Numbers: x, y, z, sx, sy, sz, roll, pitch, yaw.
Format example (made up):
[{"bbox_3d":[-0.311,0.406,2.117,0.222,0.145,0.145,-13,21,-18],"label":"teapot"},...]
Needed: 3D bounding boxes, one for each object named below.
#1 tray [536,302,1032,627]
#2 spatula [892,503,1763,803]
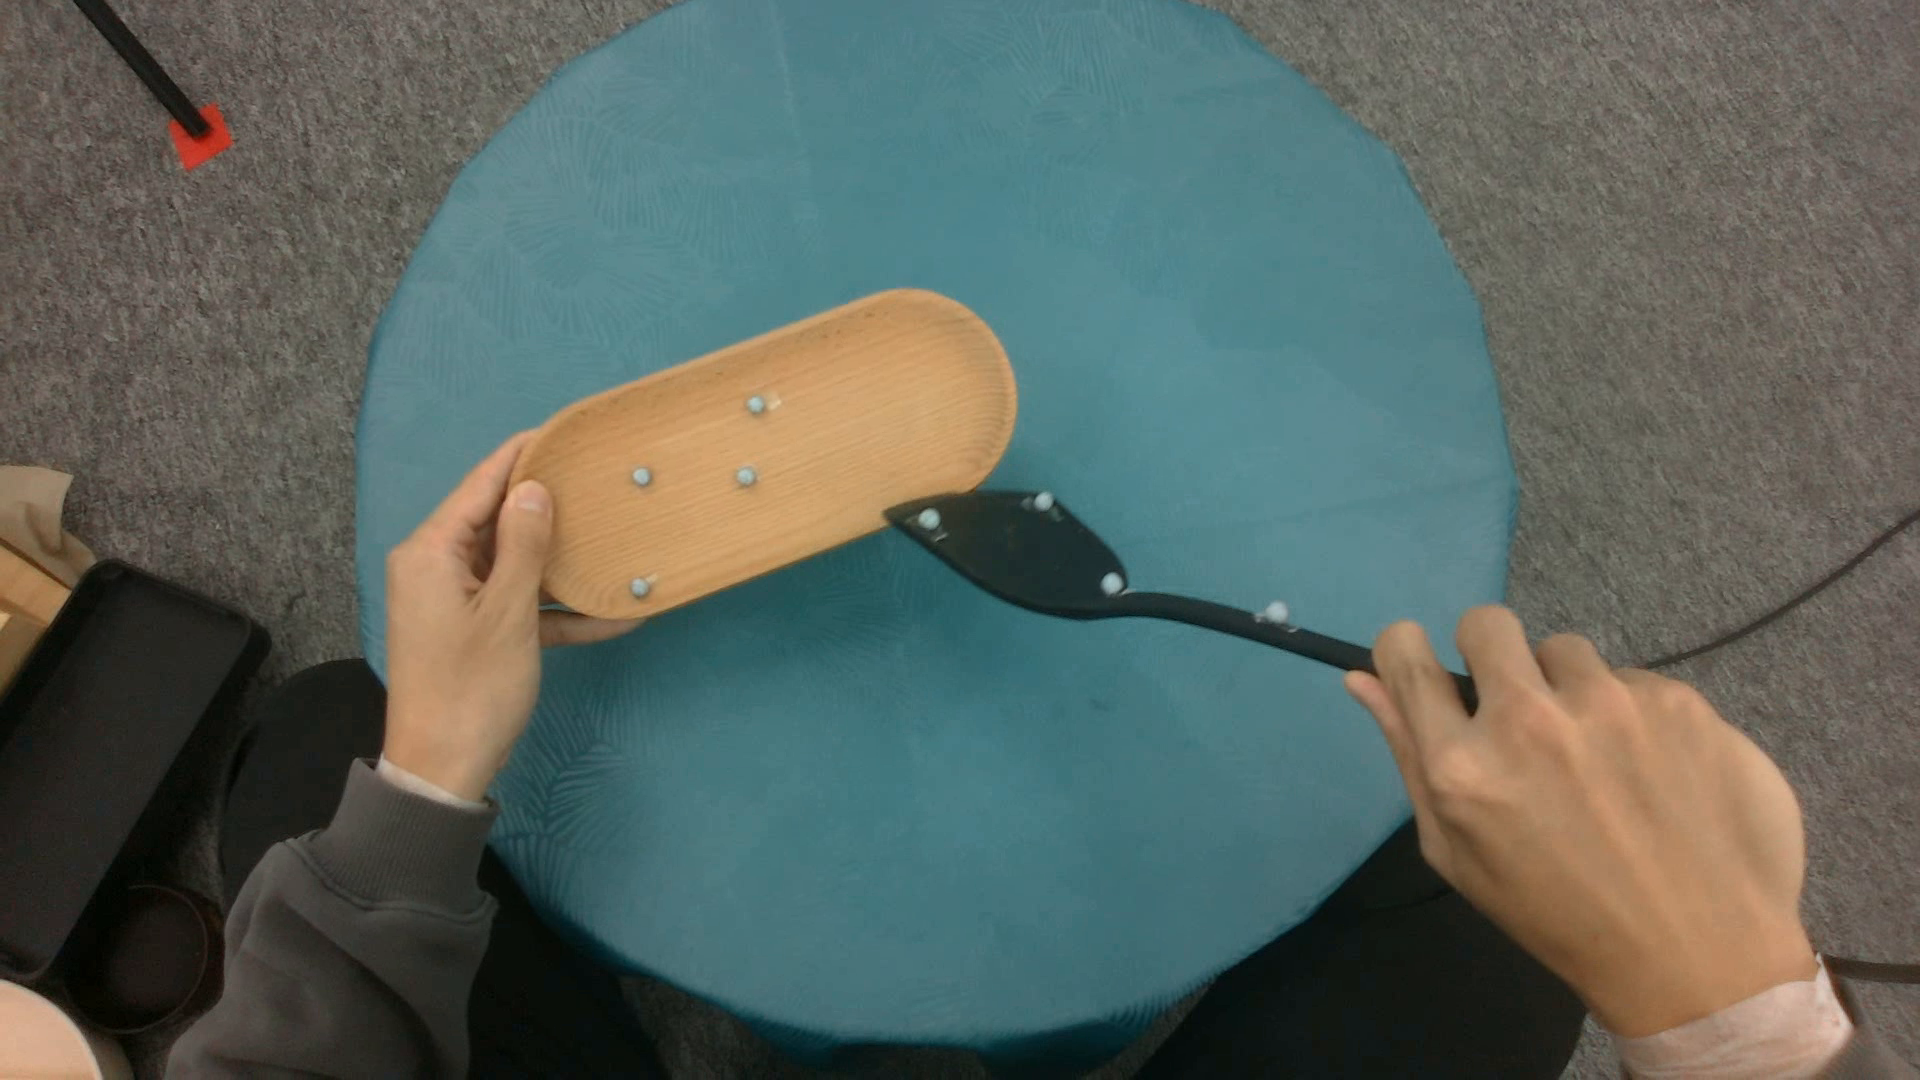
[{"bbox_3d":[-0.079,-0.035,0.627,0.231,0.020,0.102,-21,84,-5],"label":"tray"},{"bbox_3d":[0.116,0.033,0.507,0.325,0.100,0.040,13,107,41],"label":"spatula"}]
